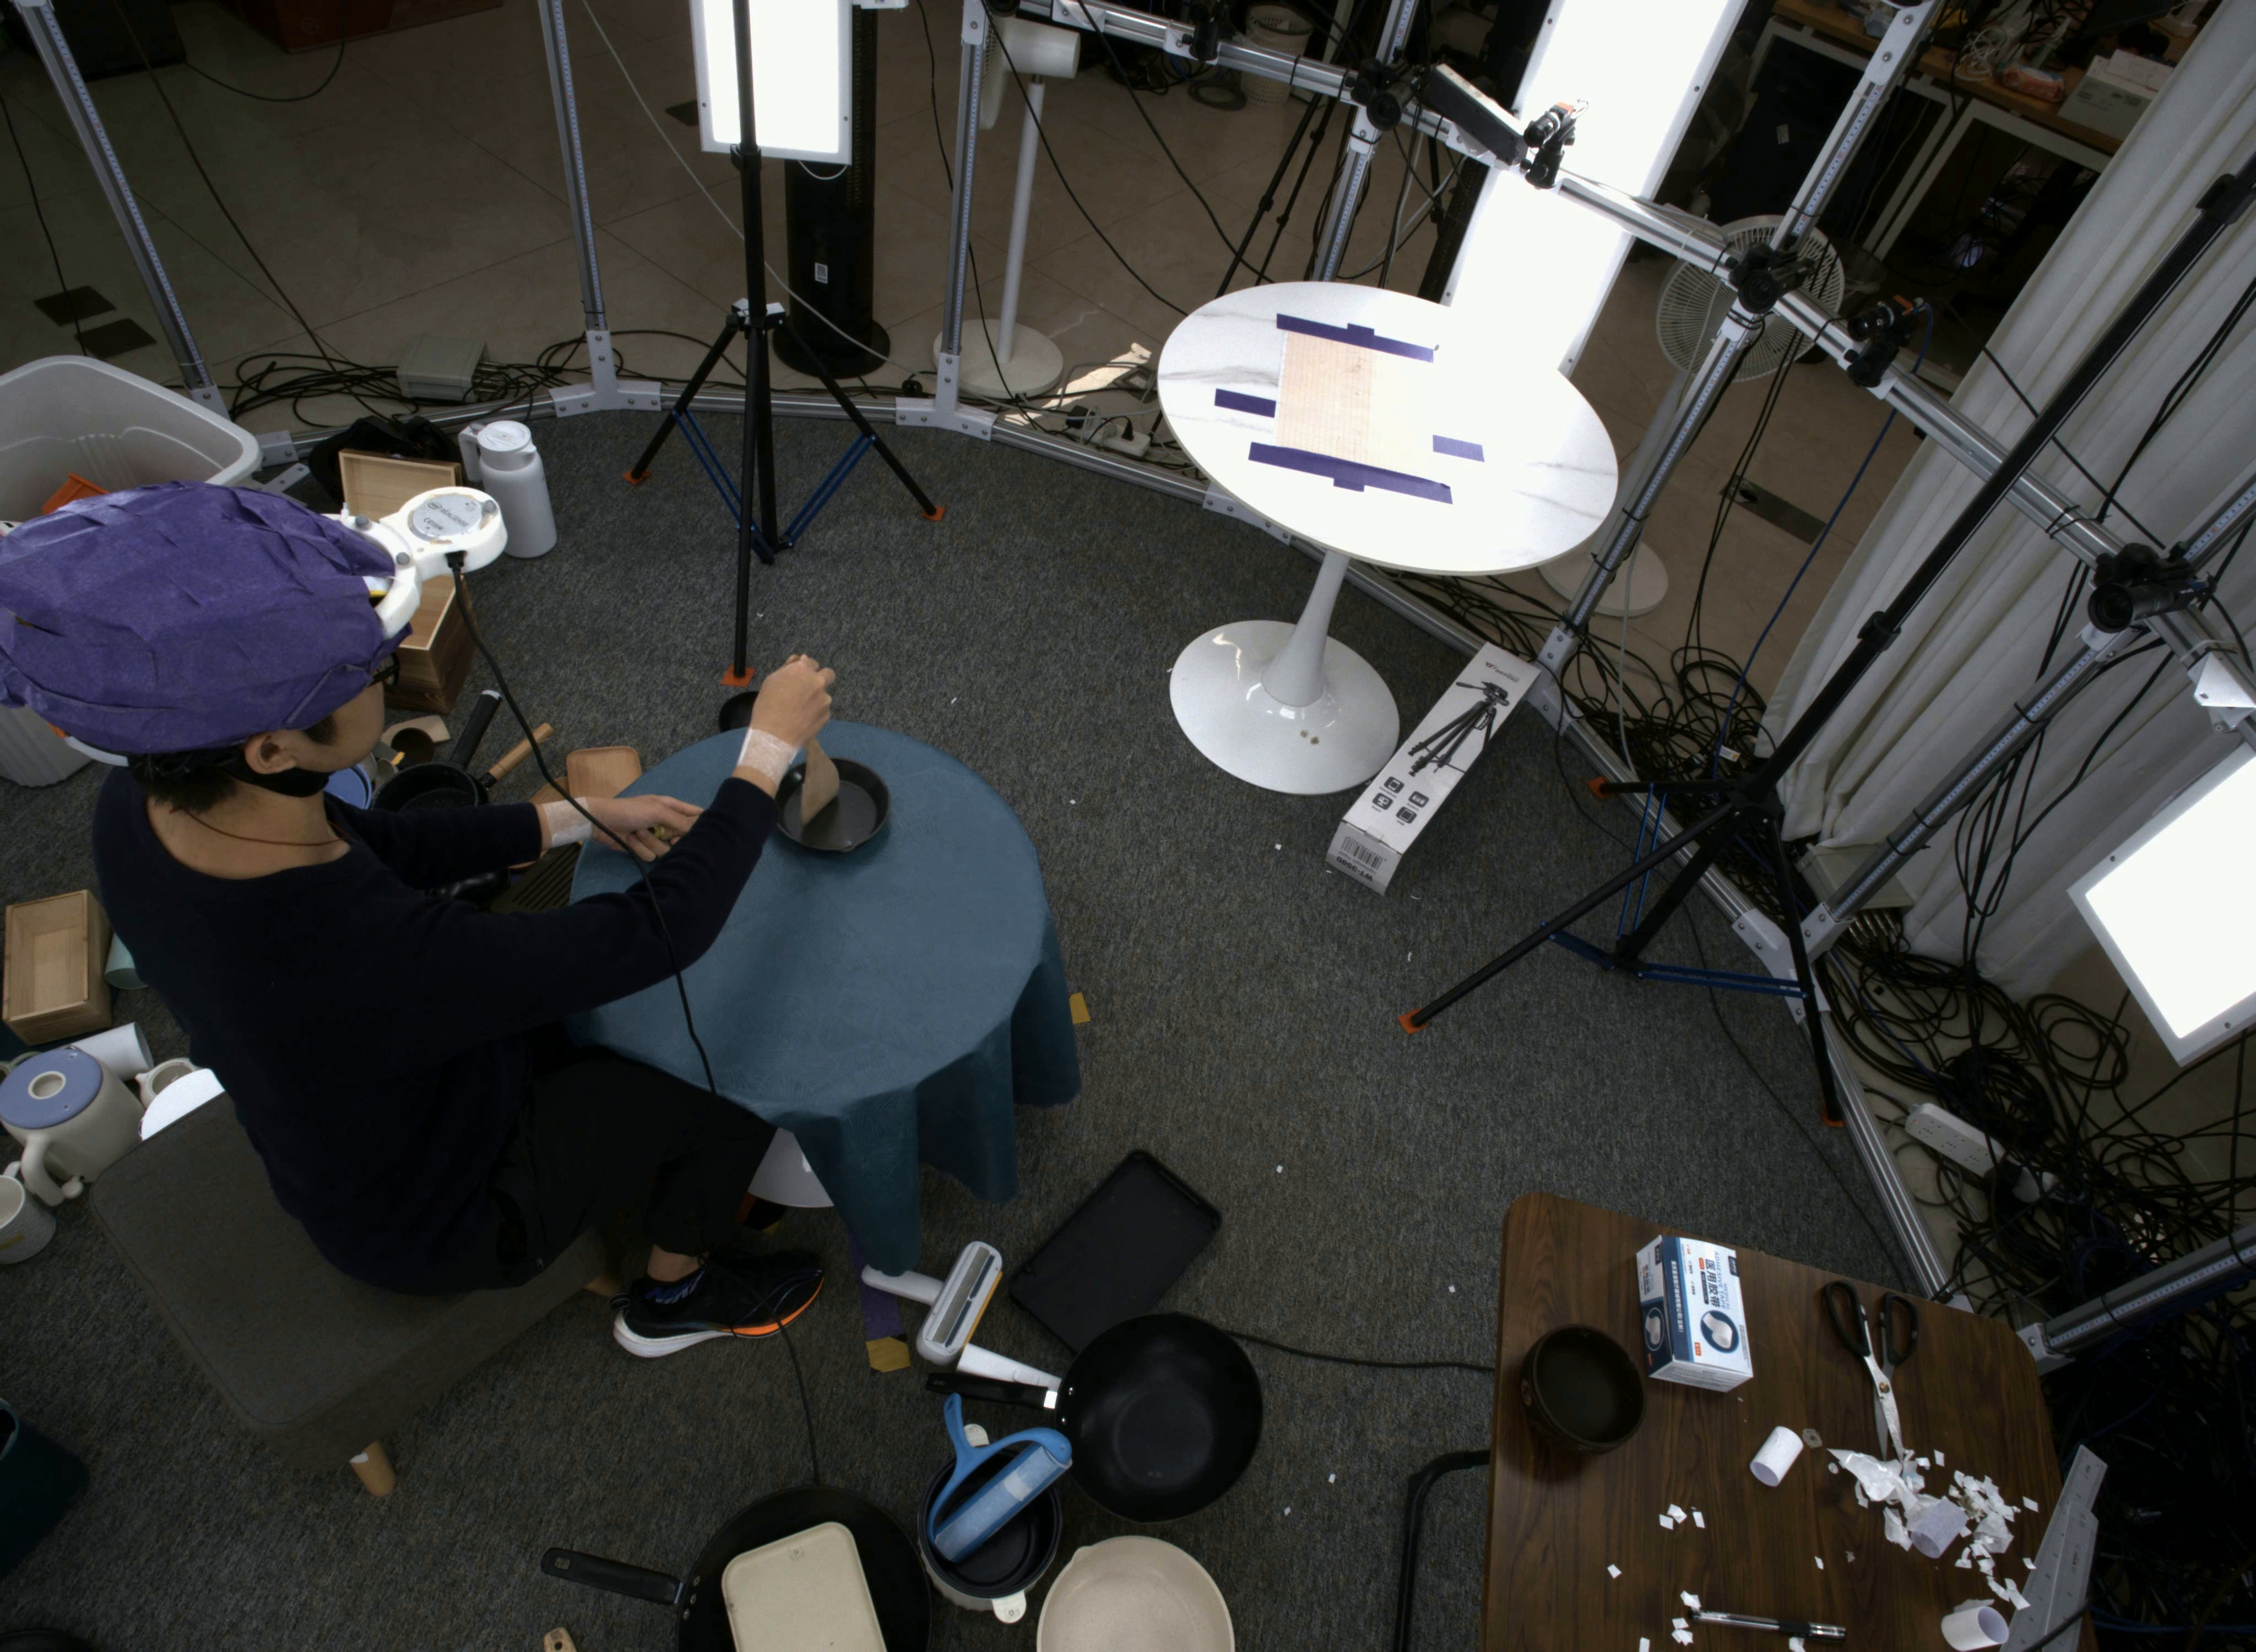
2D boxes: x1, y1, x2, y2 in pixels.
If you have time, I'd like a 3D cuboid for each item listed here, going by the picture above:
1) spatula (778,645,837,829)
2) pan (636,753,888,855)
[{"bbox_3d":[-0.400,-0.106,1.592,0.016,0.335,0.080,27,59,14],"label":"spatula"},{"bbox_3d":[-0.472,-0.014,1.679,0.326,0.050,0.165,-10,57,-23],"label":"pan"}]
